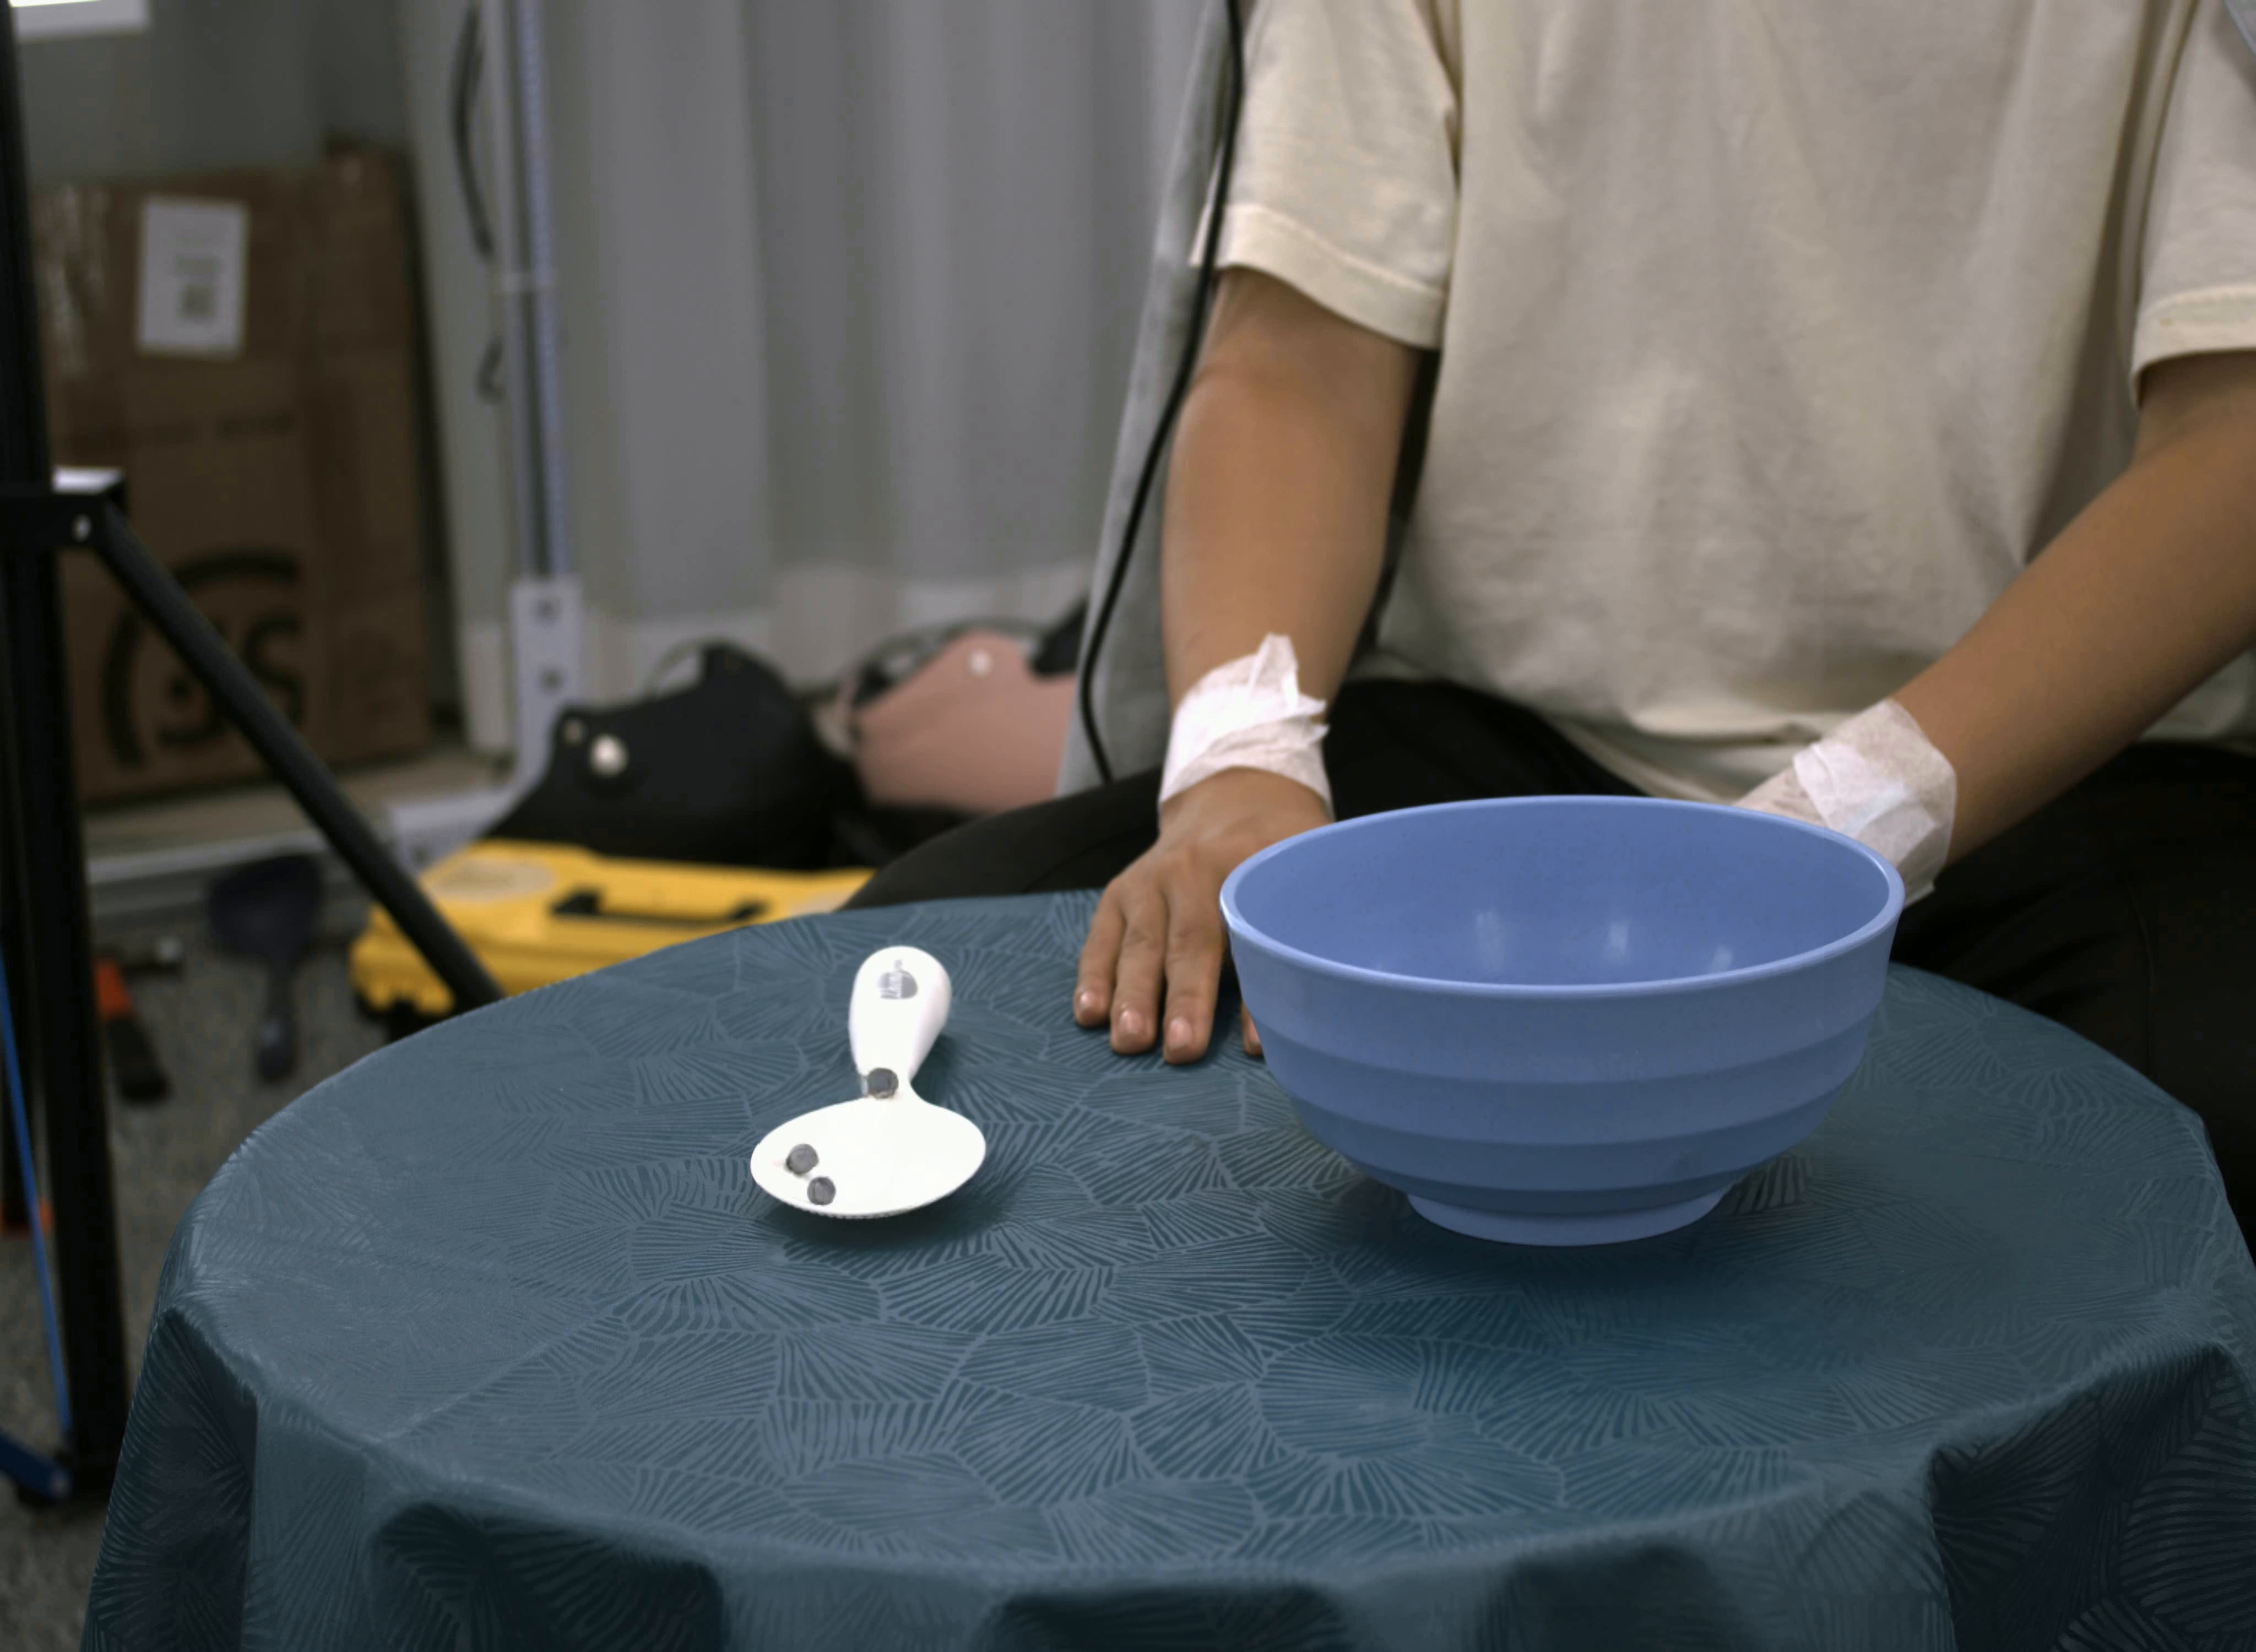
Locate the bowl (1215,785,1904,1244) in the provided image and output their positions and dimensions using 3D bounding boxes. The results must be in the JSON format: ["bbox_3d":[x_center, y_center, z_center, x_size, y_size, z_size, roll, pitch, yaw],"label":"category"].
[{"bbox_3d":[0.125,0.060,1.526,0.195,0.095,0.197,-4,16,0],"label":"bowl"}]

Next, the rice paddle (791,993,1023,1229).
[{"bbox_3d":[-0.073,0.088,1.602,0.068,0.029,0.207,8,10,-10],"label":"rice paddle"}]
